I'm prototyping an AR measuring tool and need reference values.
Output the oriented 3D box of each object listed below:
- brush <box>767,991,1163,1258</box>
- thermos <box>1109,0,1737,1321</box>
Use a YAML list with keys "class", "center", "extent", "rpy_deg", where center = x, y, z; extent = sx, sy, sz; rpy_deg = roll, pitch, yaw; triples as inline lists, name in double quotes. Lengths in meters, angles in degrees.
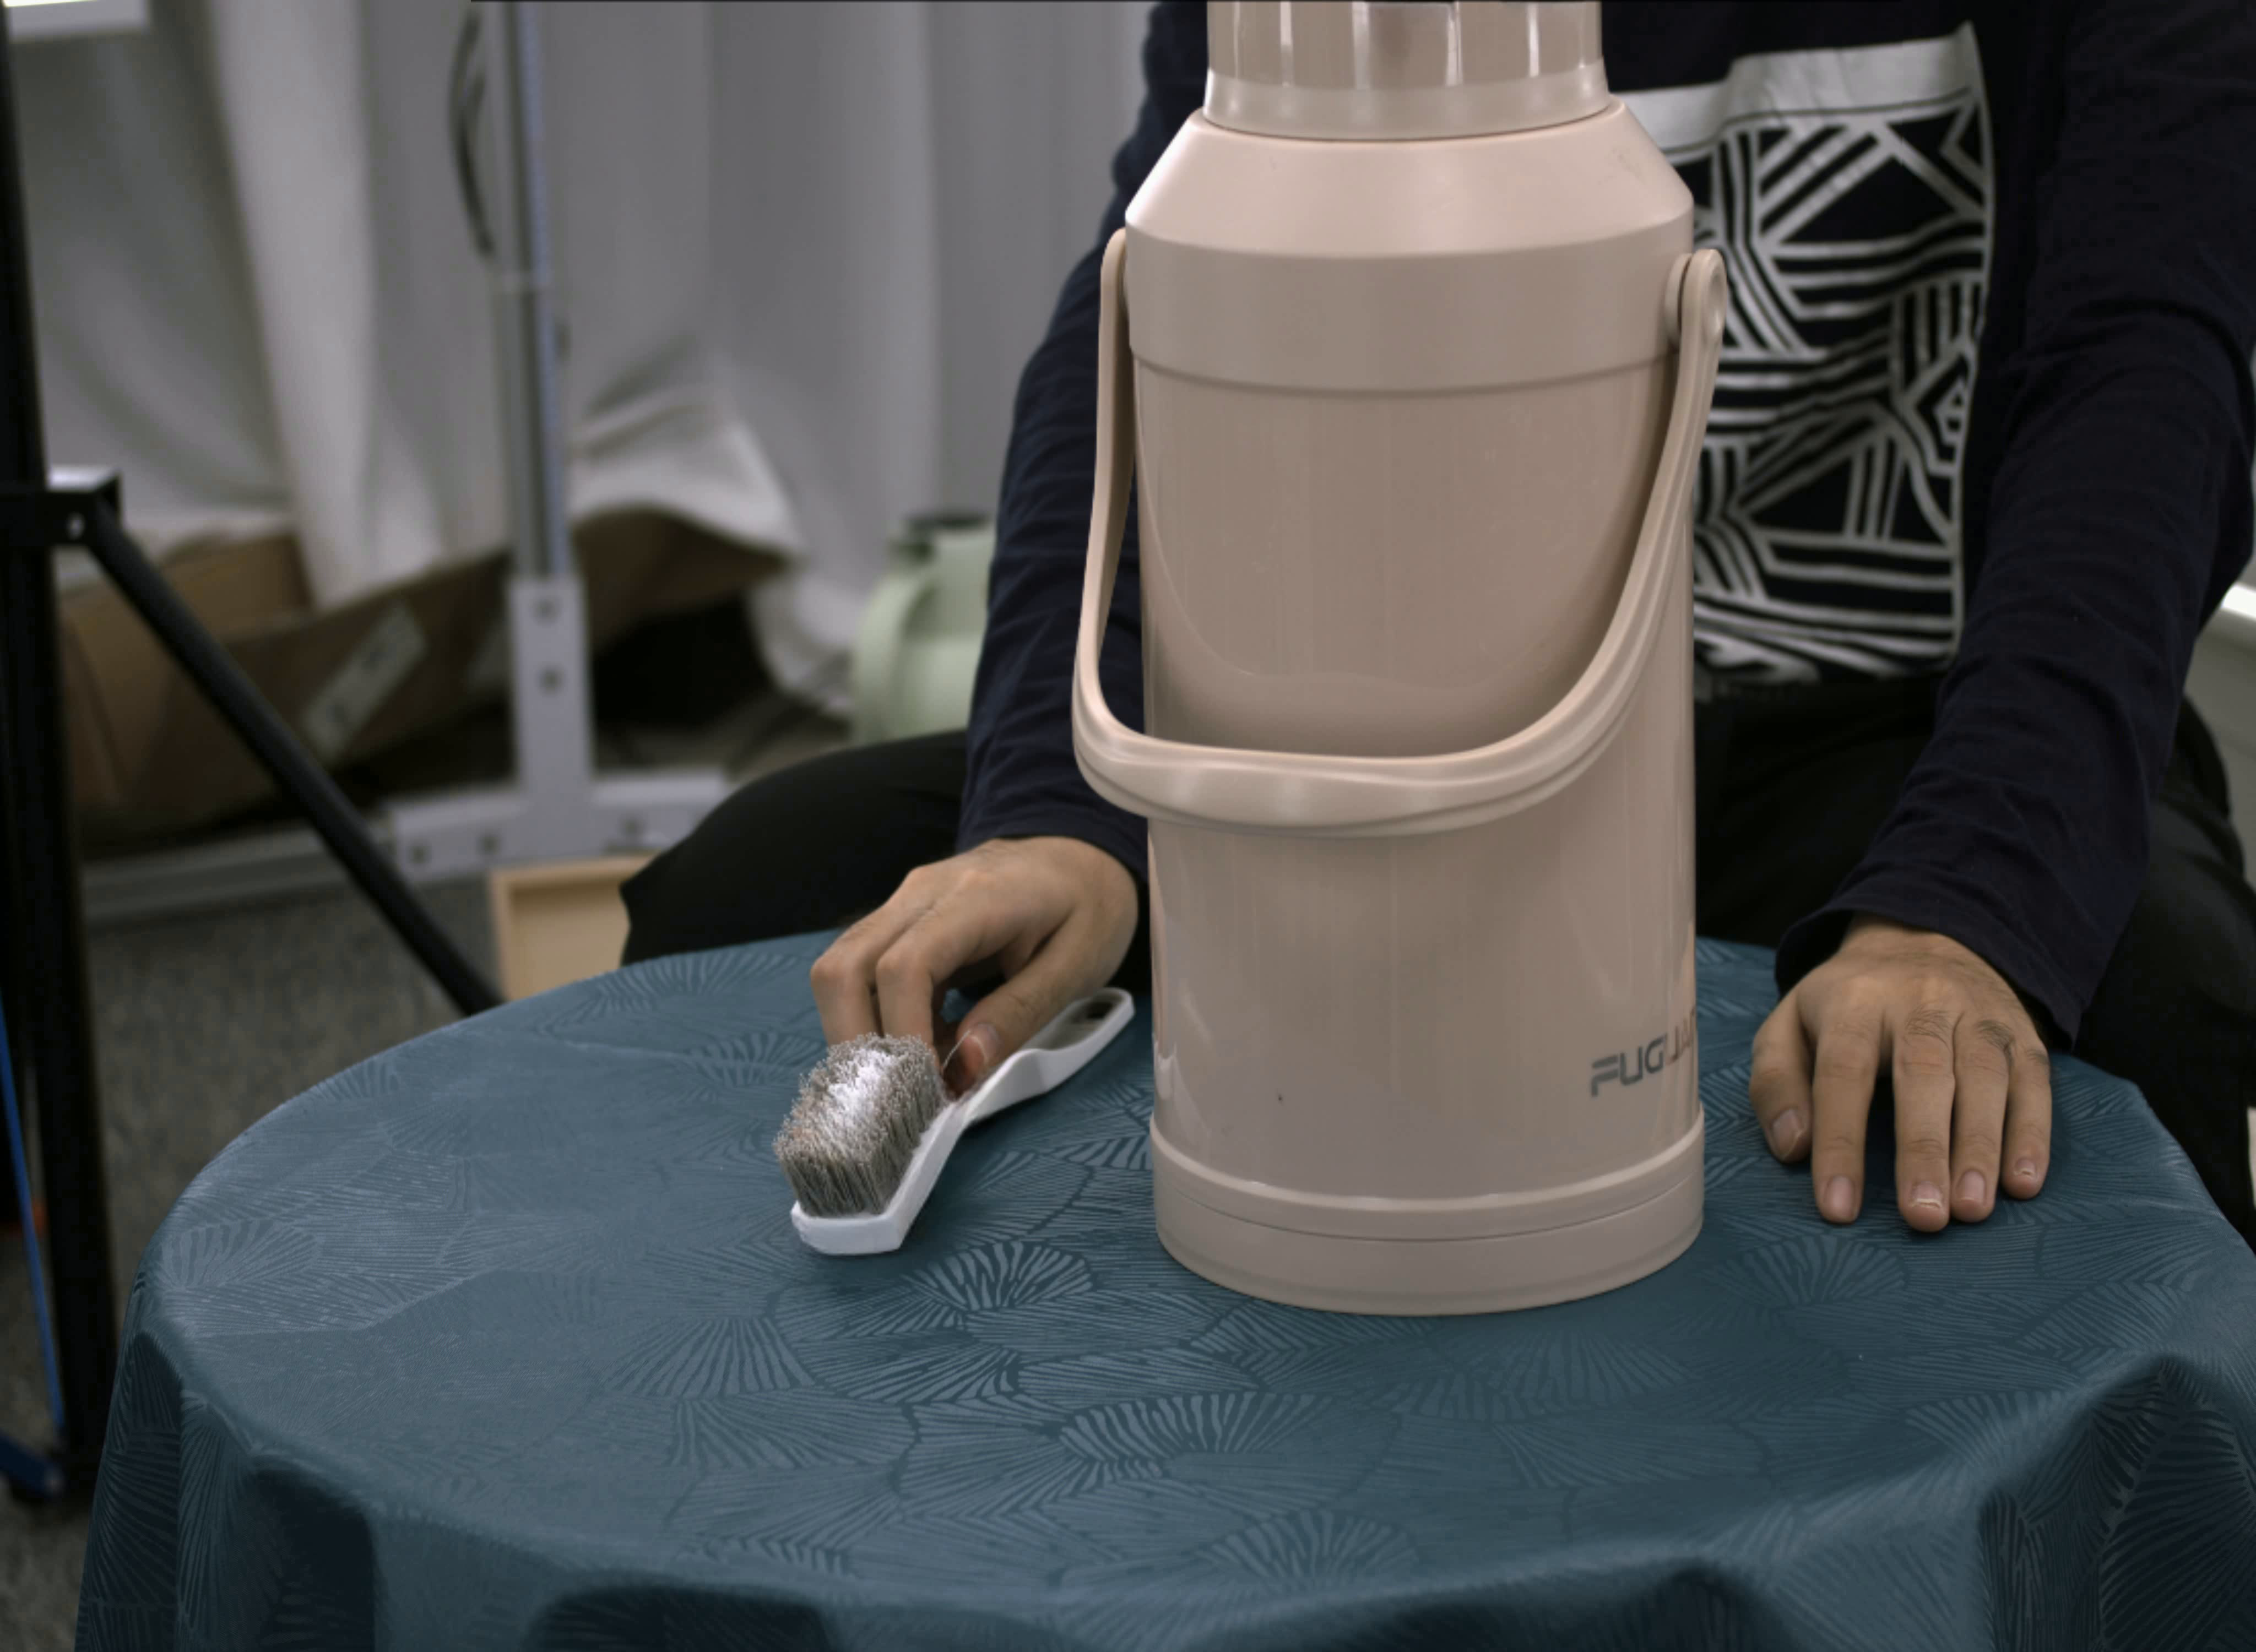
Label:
- class: "brush"
  center: [-0.044, 0.070, 1.611]
  extent: [0.035, 0.050, 0.240]
  rpy_deg: [-3, 15, 24]
- class: "thermos"
  center: [0.089, -0.080, 1.486]
  extent: [0.177, 0.406, 0.204]
  rpy_deg: [2, 15, 22]
